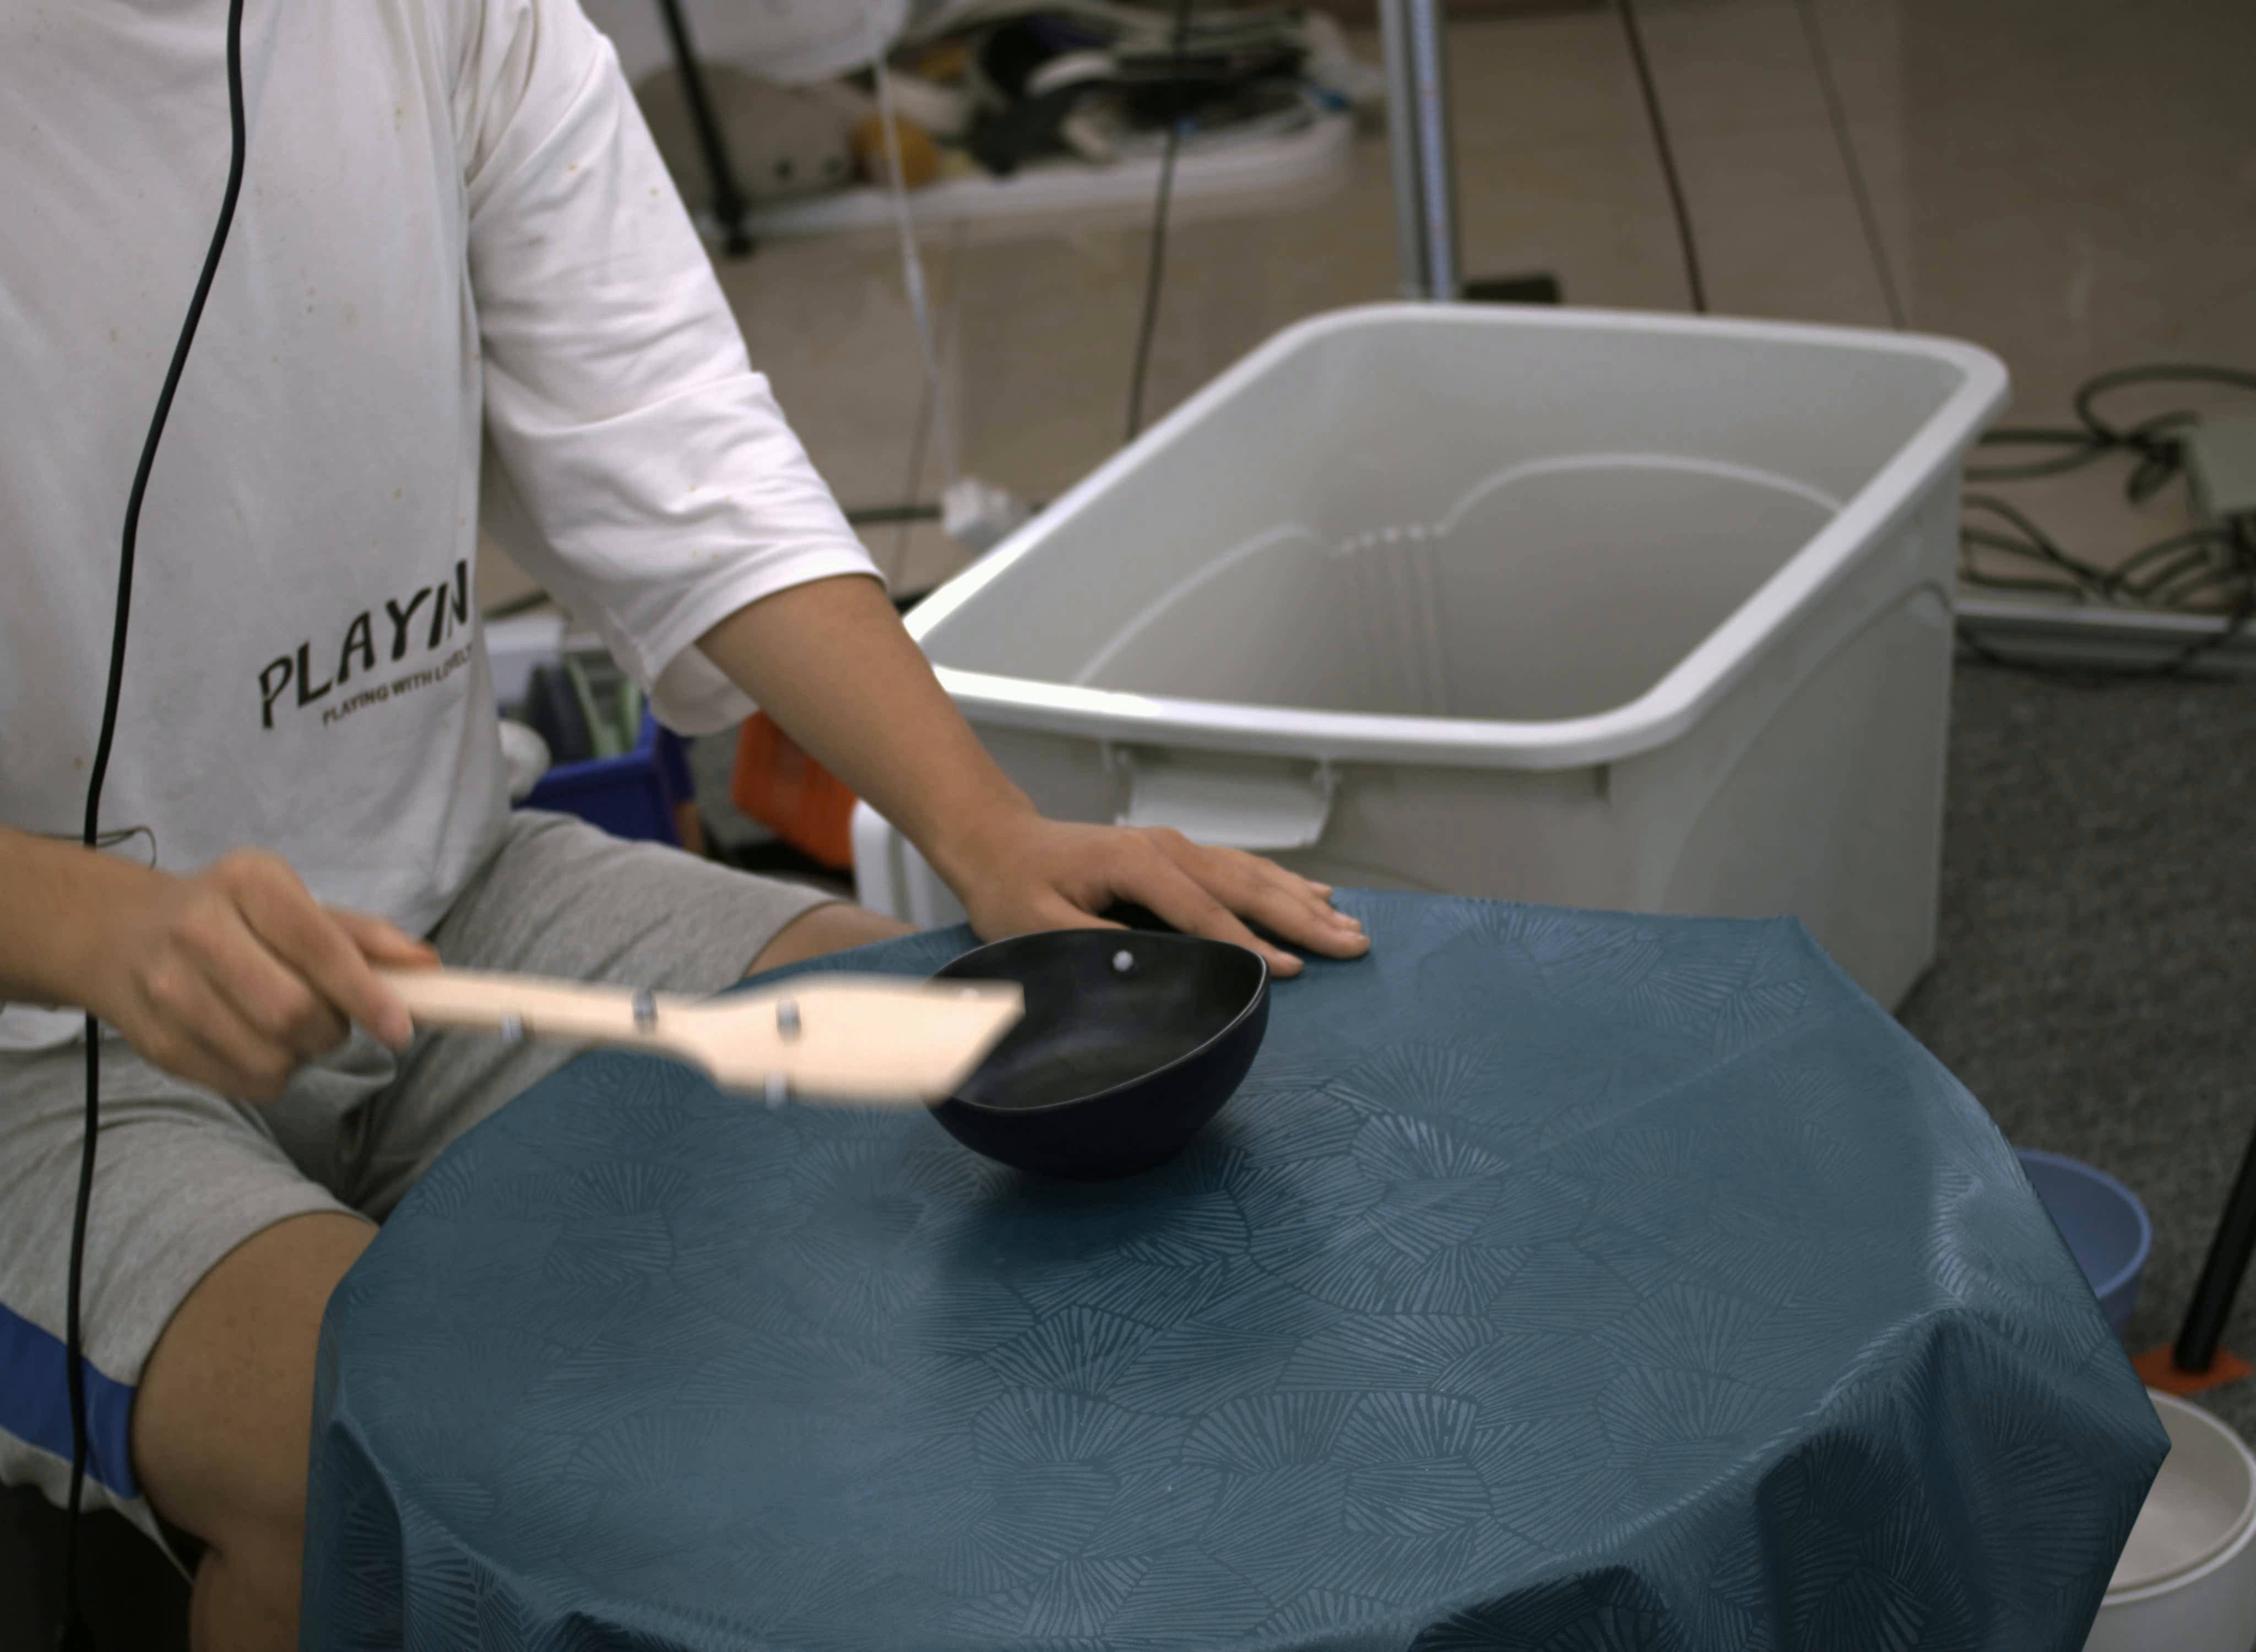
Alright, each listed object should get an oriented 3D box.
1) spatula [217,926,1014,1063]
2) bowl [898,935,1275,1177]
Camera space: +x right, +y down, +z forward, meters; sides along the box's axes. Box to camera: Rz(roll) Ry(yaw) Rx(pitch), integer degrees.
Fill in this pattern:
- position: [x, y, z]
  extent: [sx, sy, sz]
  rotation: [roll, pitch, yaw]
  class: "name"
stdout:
- position: [-0.182, 0.053, 1.926]
  extent: [0.292, 0.011, 0.071]
  rotation: [4, 28, 23]
  class: "spatula"
- position: [-0.013, 0.092, 2.174]
  extent: [0.137, 0.068, 0.168]
  rotation: [6, 26, 26]
  class: "bowl"
